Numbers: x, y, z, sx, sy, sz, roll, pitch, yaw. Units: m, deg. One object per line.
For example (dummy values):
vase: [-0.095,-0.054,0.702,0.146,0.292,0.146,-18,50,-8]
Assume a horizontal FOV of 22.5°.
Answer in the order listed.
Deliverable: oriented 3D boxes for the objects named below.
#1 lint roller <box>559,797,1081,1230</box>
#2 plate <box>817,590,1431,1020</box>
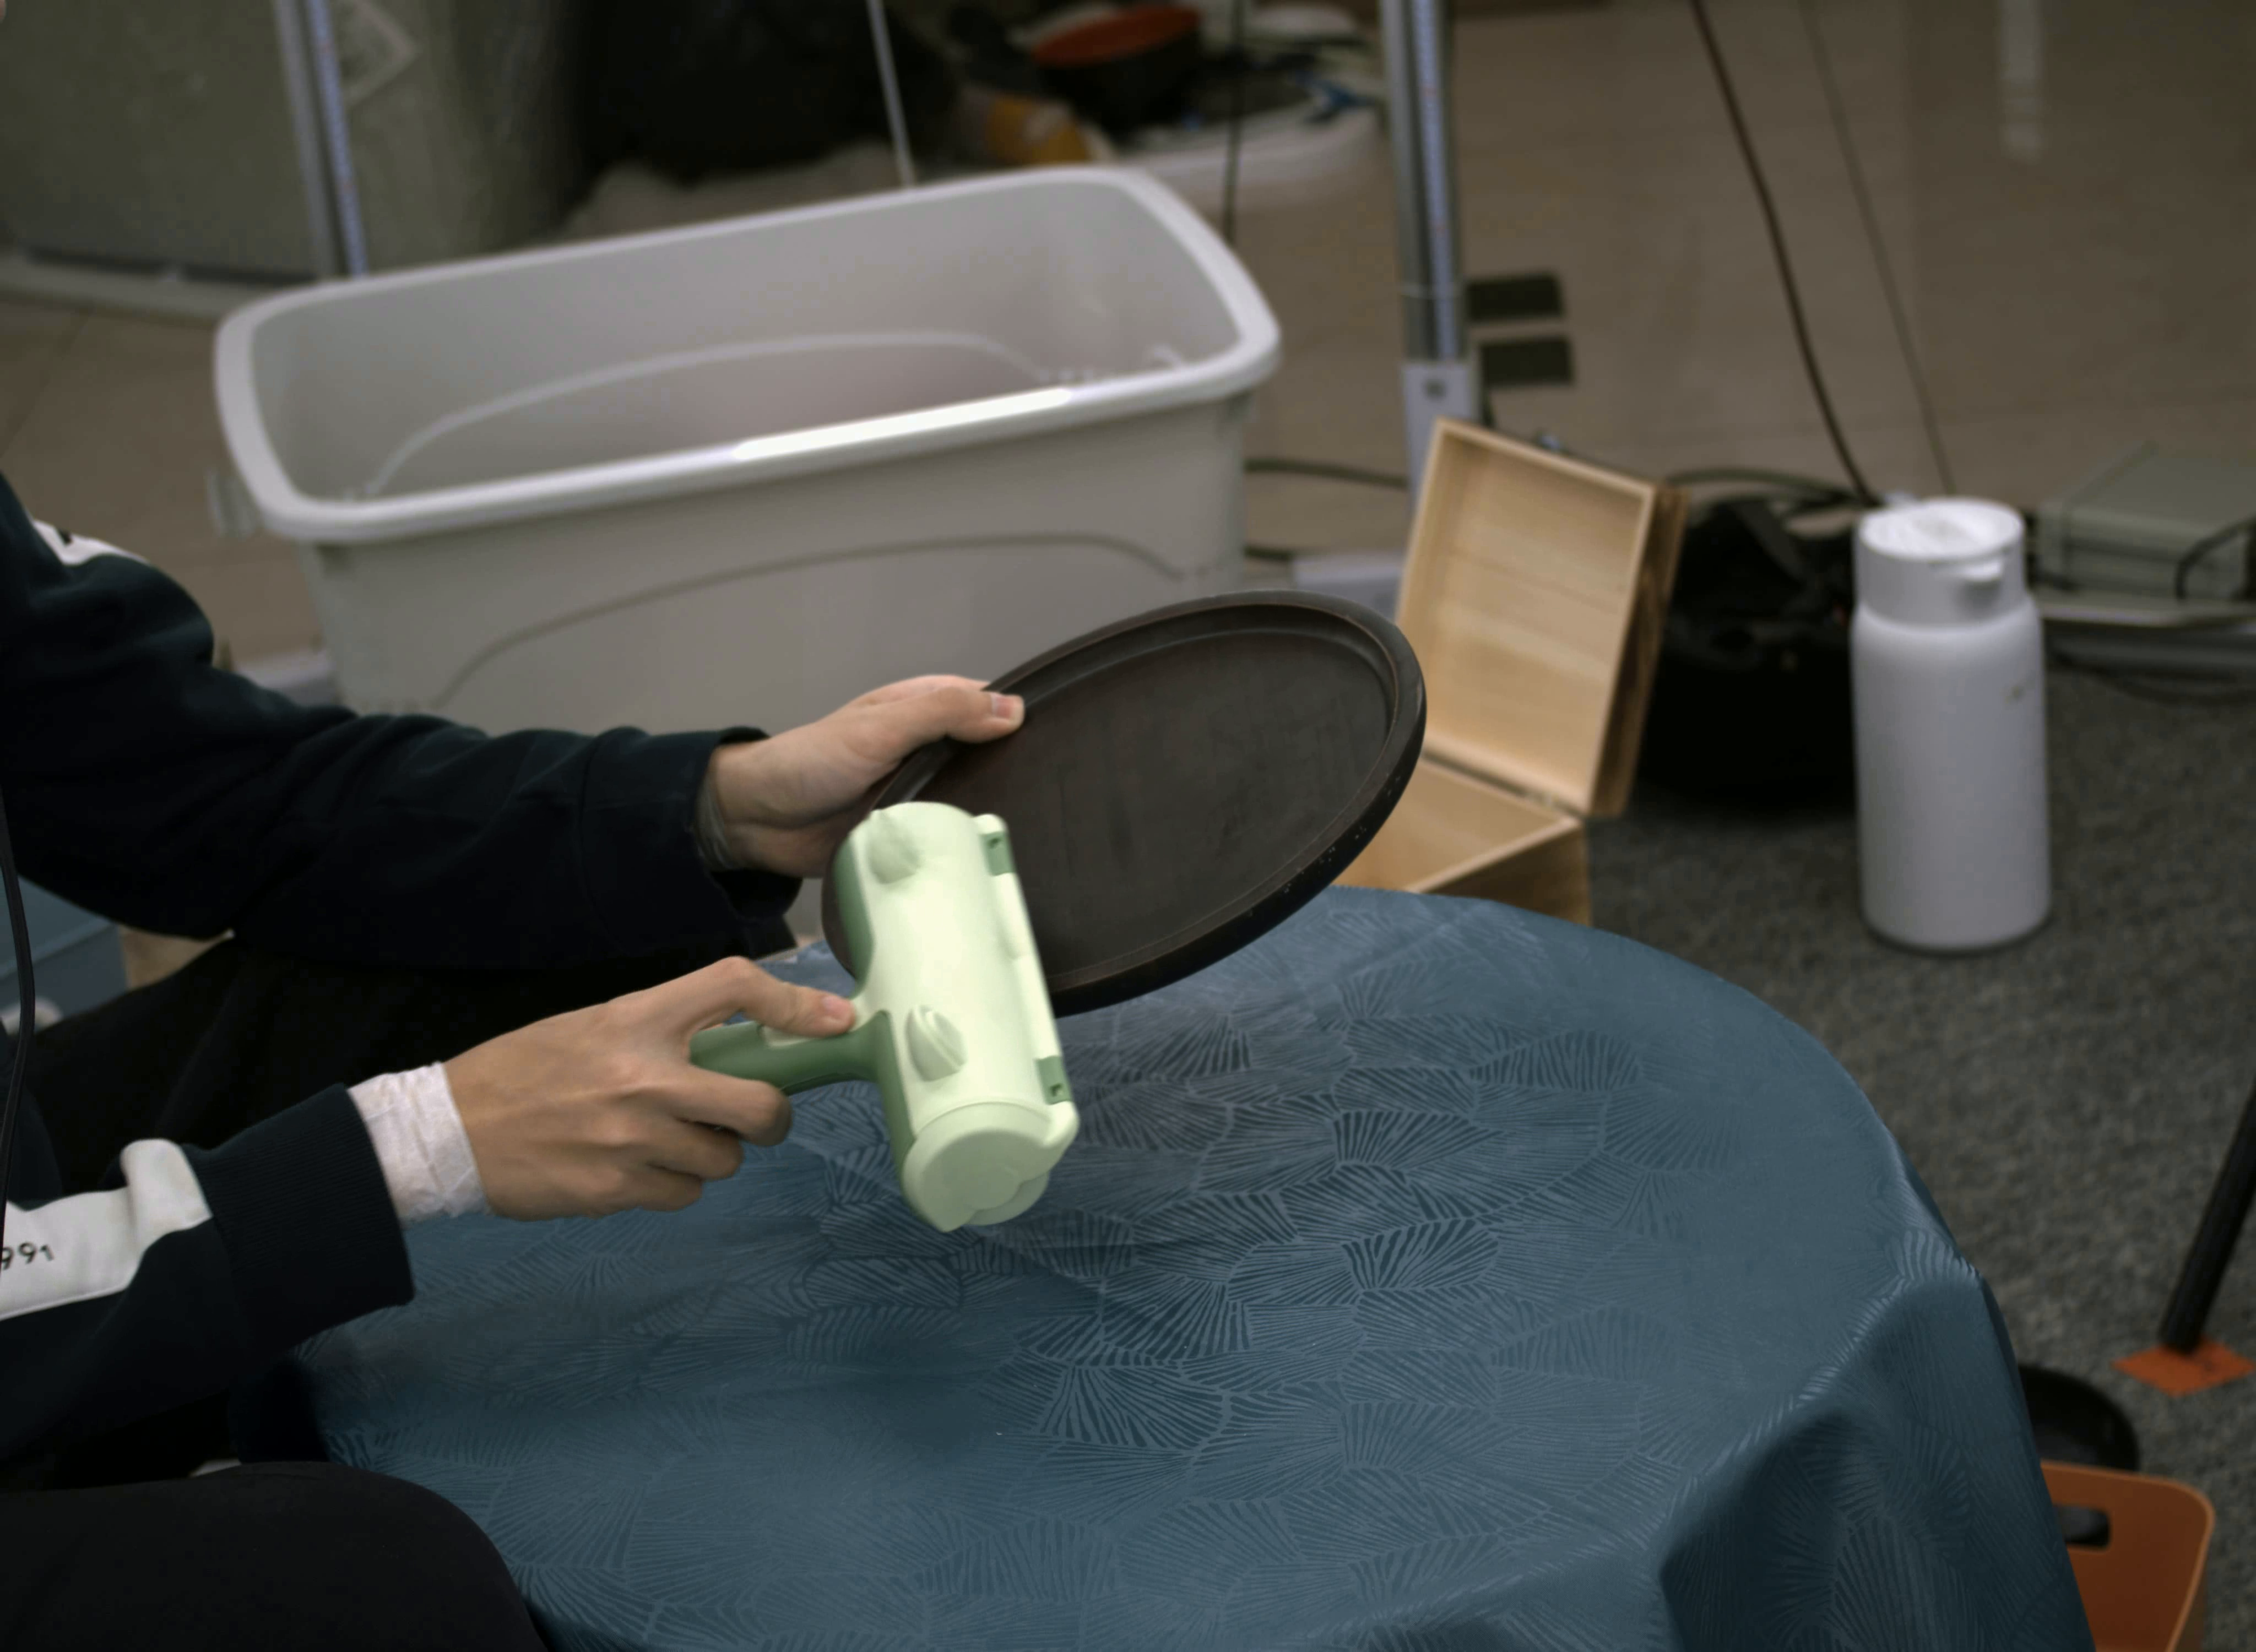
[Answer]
lint roller: [-0.119,0.068,2.044,0.183,0.084,0.195,-10,39,-4]
plate: [0.000,-0.008,2.173,0.255,0.029,0.250,-19,33,13]
